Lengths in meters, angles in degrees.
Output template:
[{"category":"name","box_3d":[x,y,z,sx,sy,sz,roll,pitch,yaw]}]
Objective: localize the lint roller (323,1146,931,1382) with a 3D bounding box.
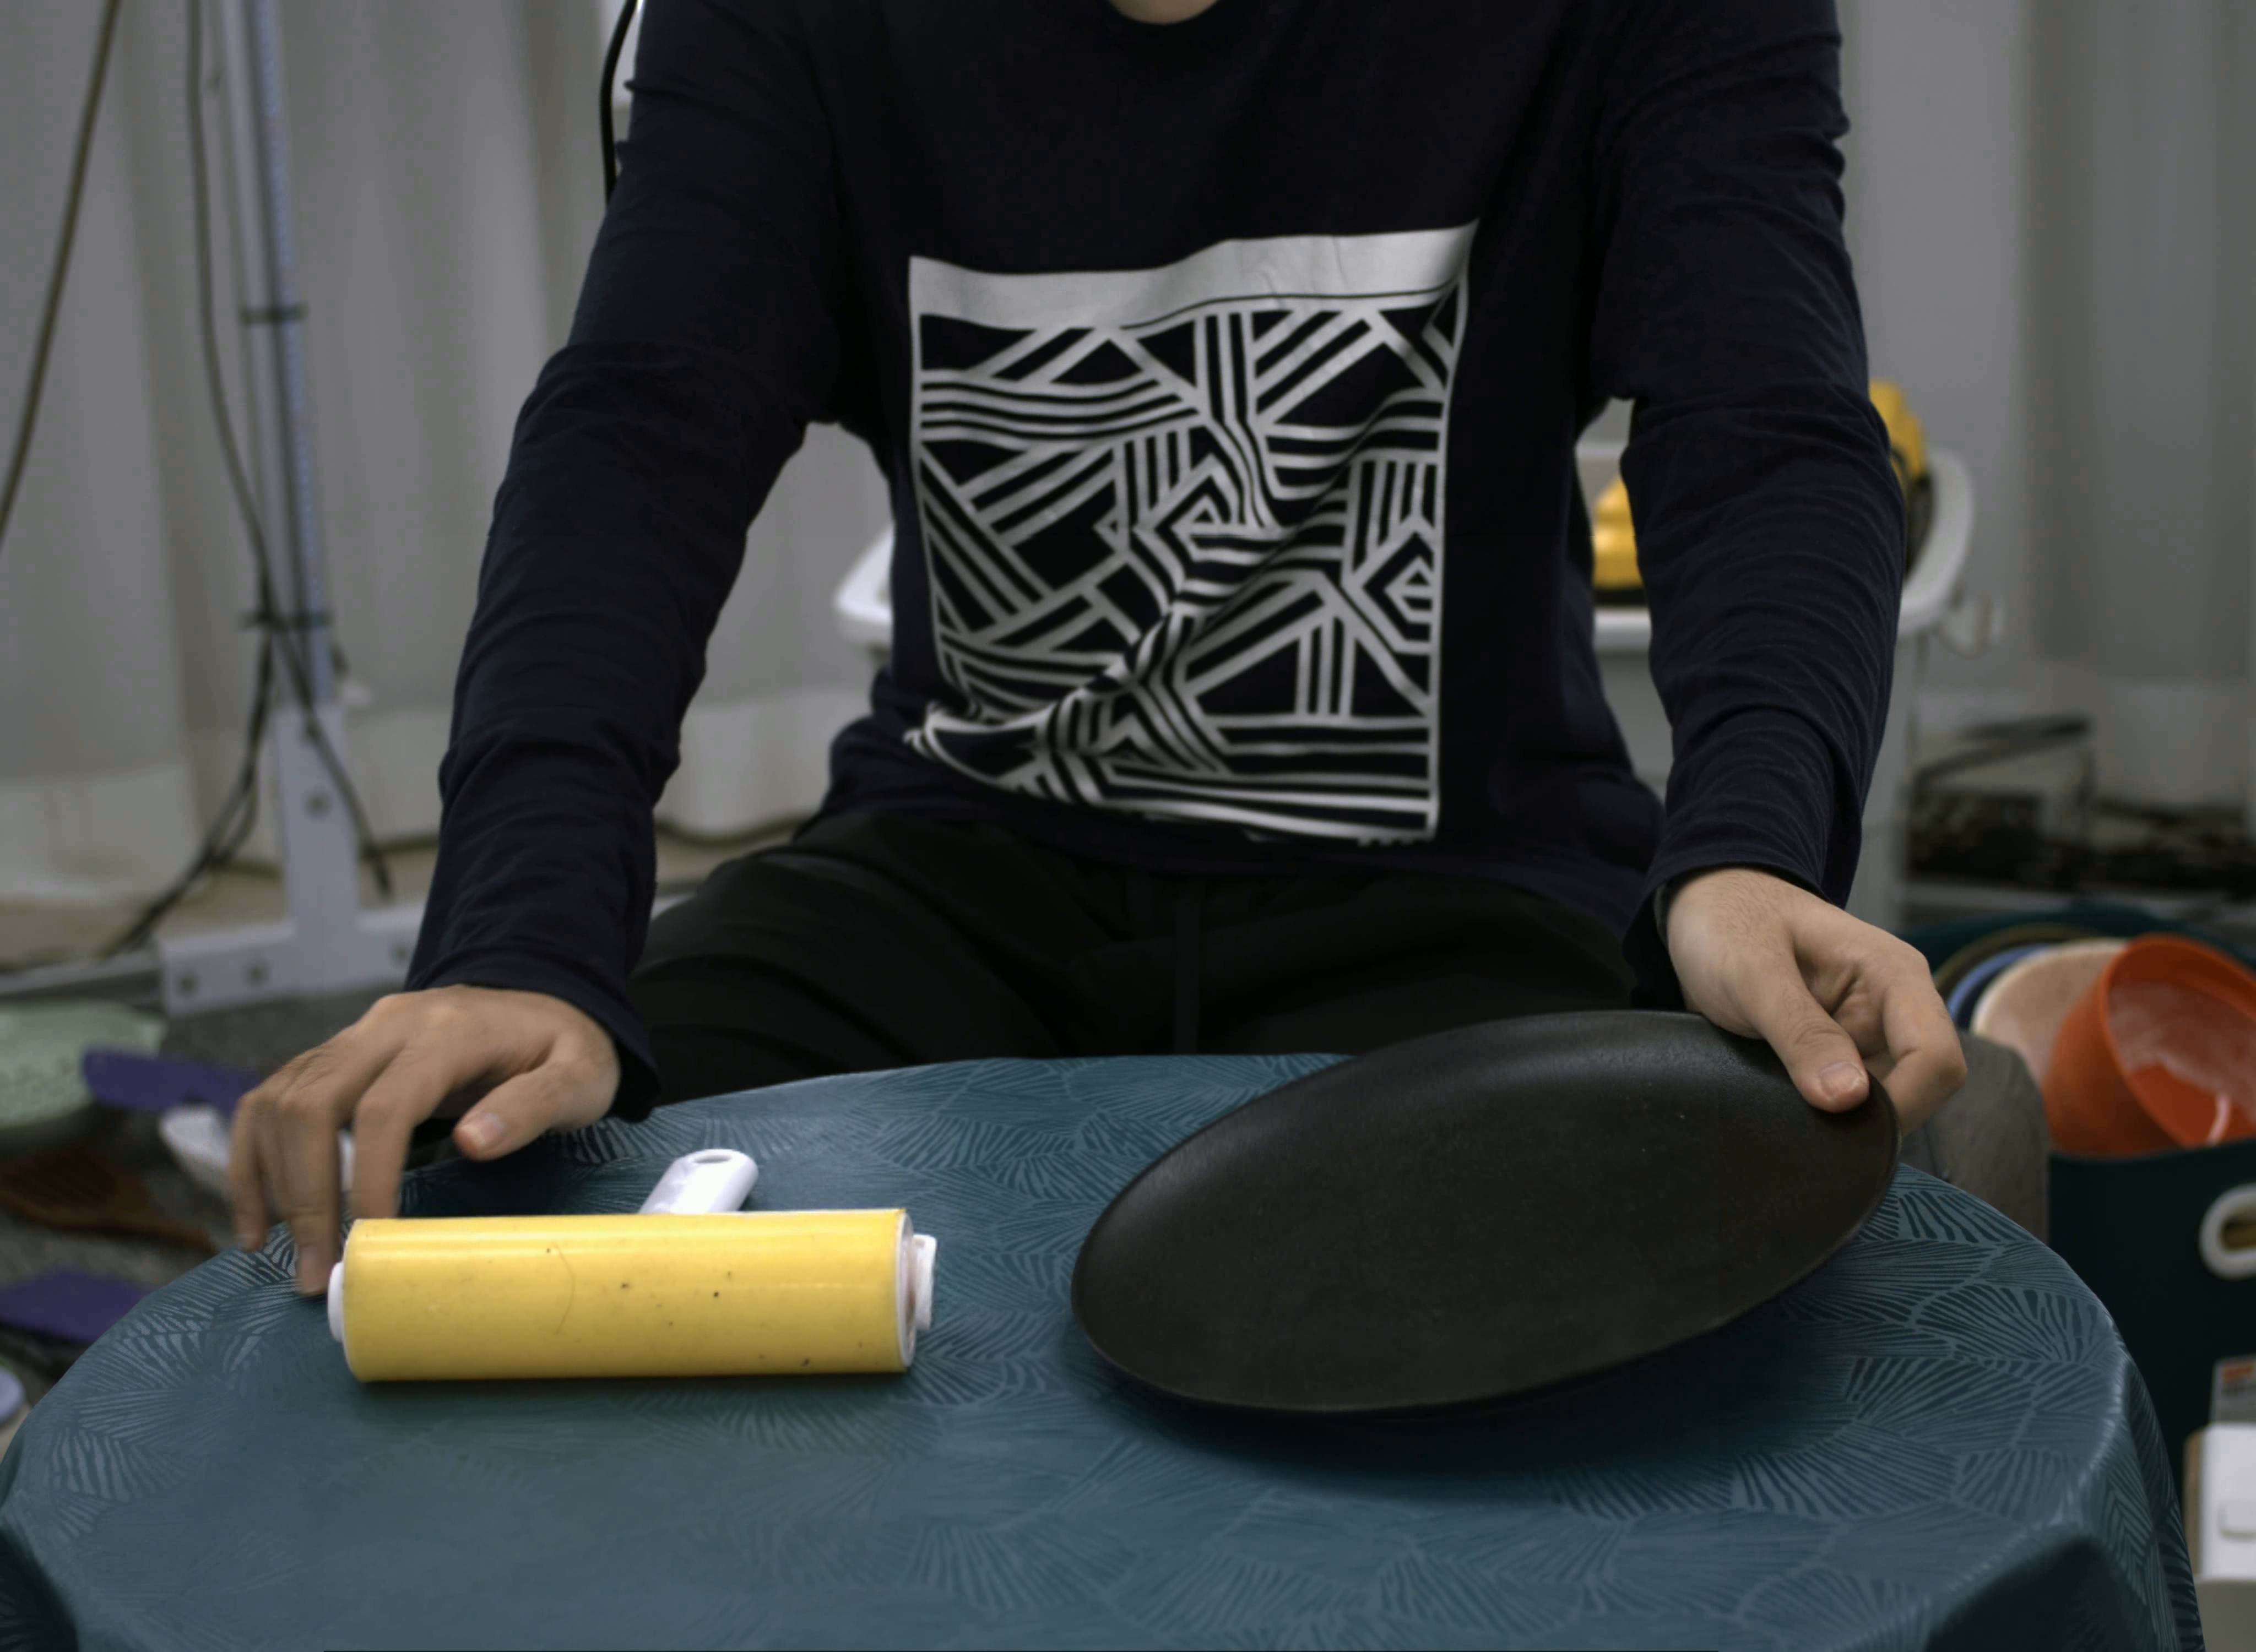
[{"category":"lint roller","box_3d":[-0.141,0.116,1.644,0.174,0.051,0.193,-1,18,3]}]

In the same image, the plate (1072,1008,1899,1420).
[{"category":"plate","box_3d":[0.104,0.115,1.575,0.244,0.023,0.246,-13,20,5]}]
